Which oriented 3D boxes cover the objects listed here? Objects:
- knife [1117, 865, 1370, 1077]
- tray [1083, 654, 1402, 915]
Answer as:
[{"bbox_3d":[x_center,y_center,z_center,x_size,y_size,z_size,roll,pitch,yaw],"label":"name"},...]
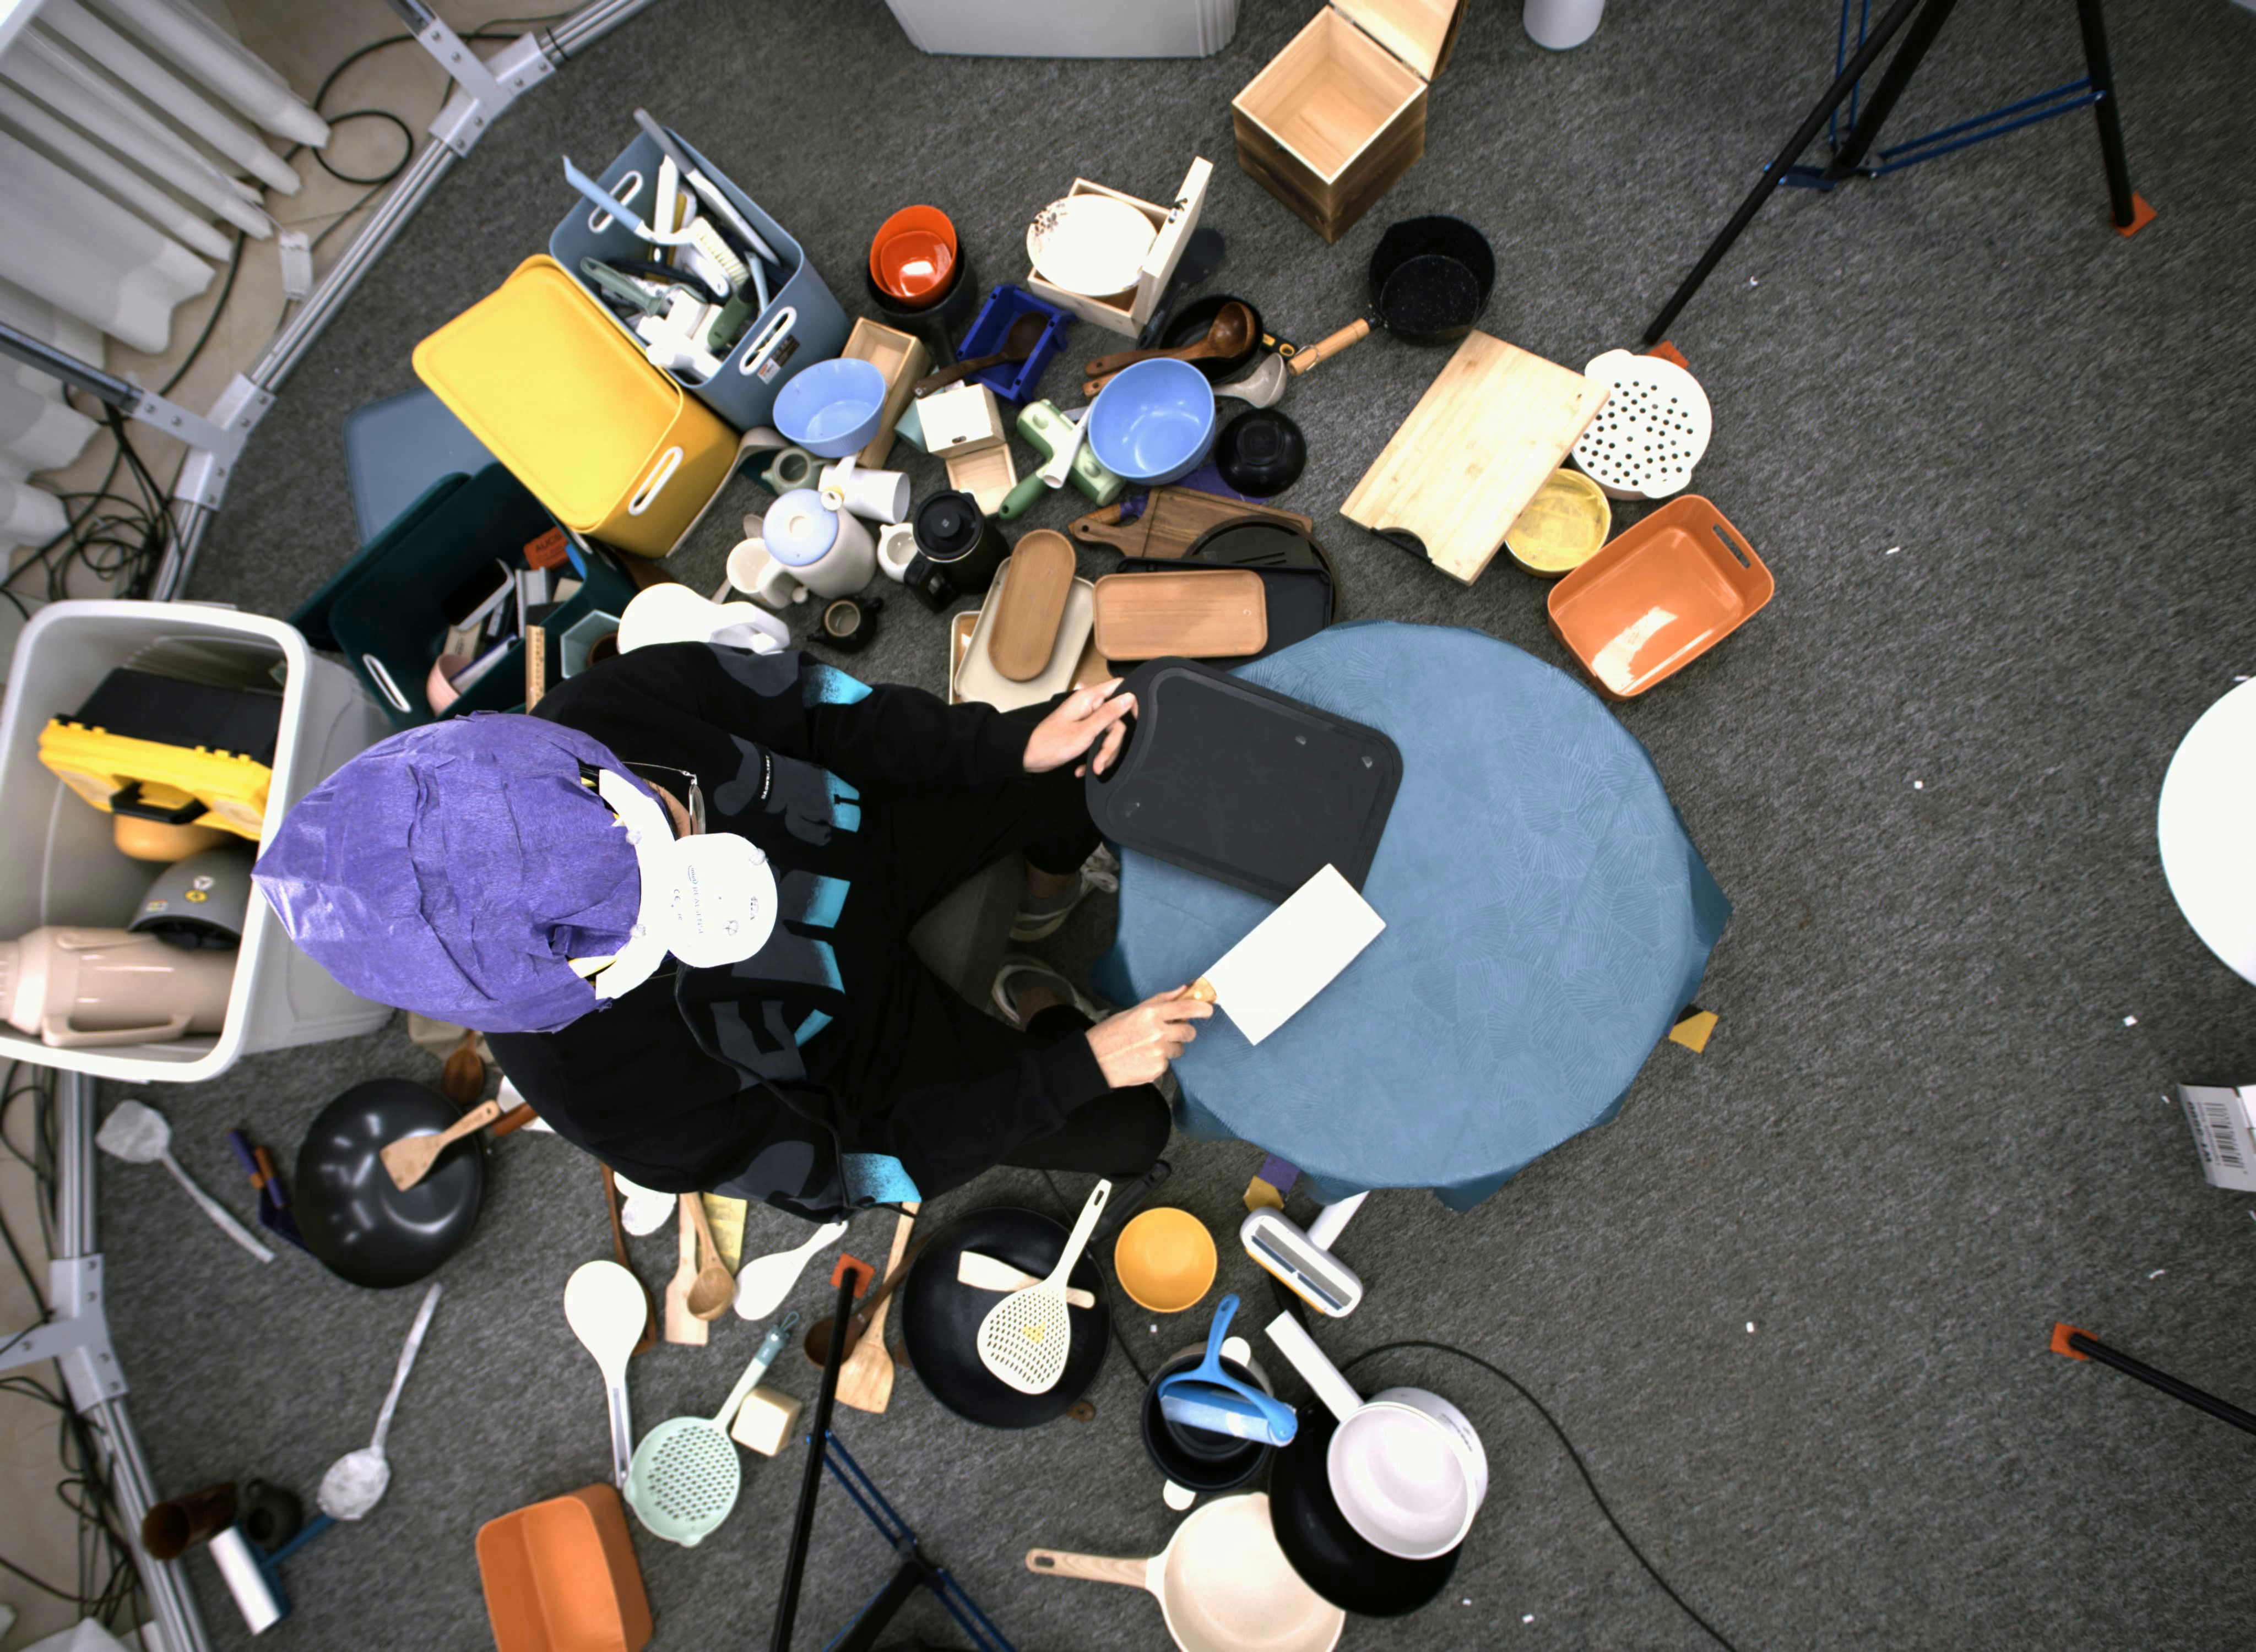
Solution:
[{"bbox_3d":[0.127,0.166,1.436,0.304,0.021,0.092,-41,83,-7],"label":"knife"},{"bbox_3d":[0.115,-0.047,1.456,0.326,0.010,0.211,21,91,-2],"label":"tray"}]
